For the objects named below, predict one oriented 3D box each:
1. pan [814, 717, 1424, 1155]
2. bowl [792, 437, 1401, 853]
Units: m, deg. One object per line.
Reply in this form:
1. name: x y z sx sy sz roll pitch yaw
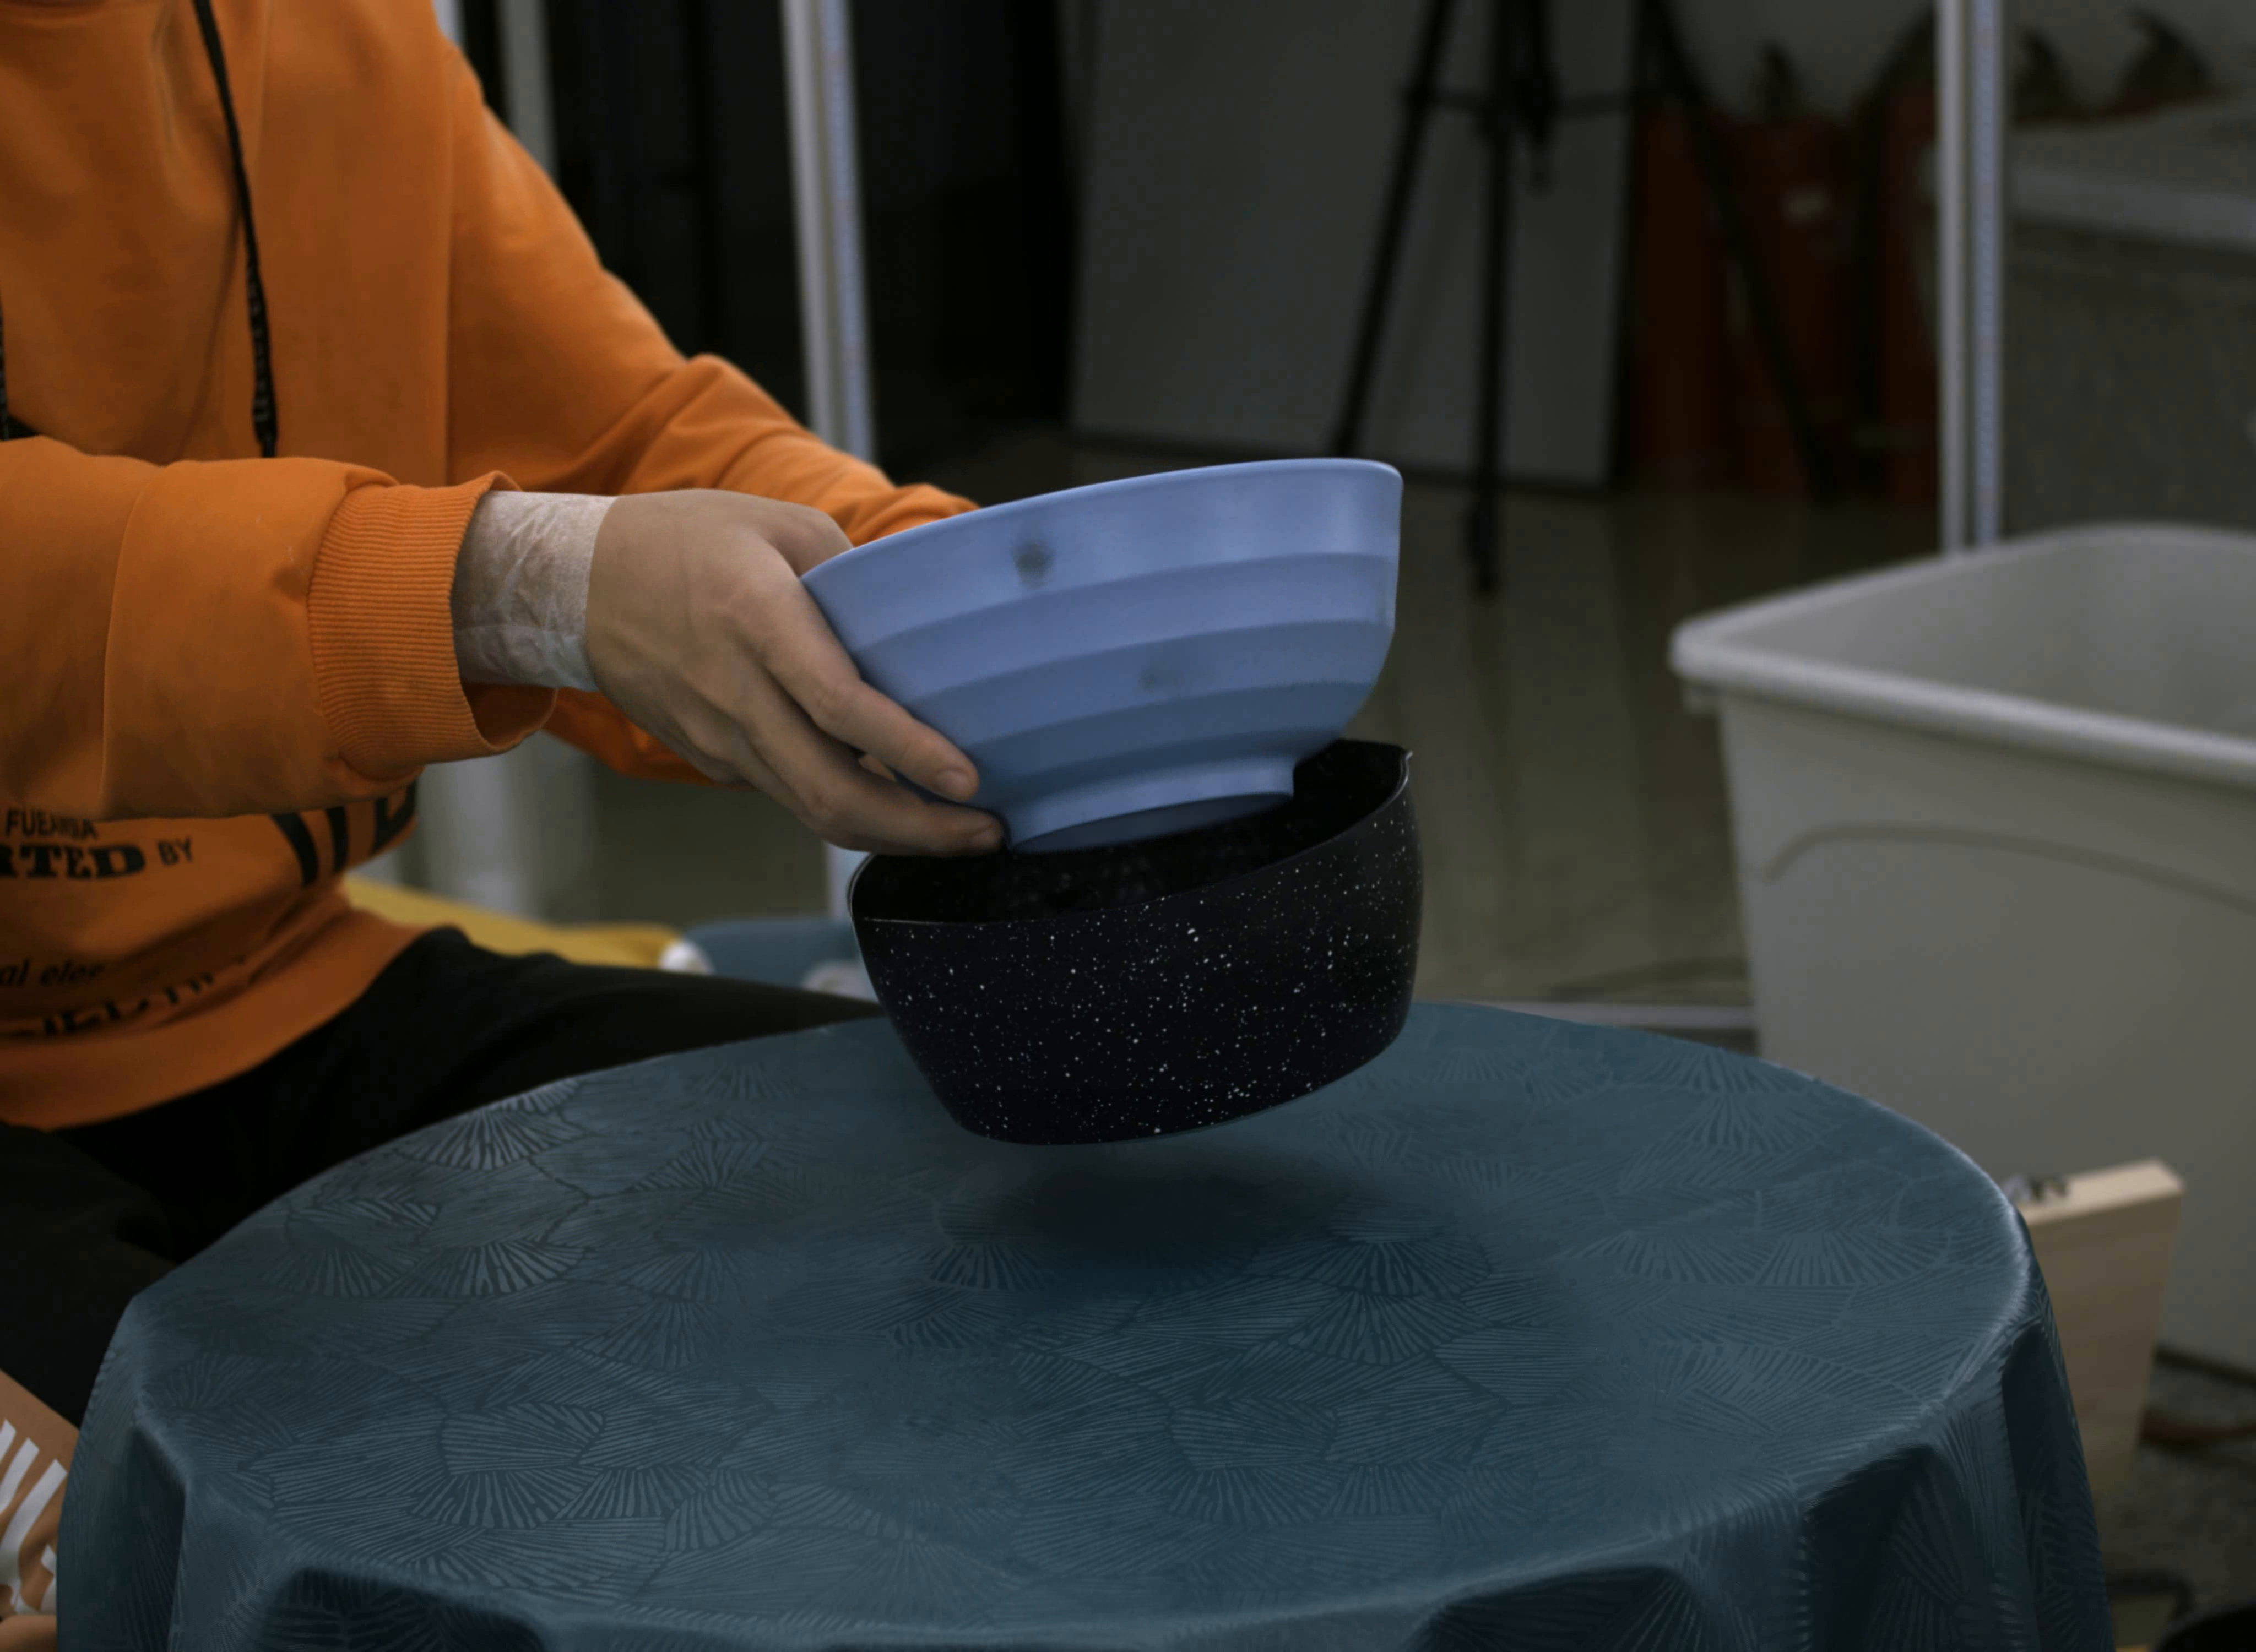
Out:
1. pan: -0.023 0.014 1.802 0.204 0.109 0.346 -18 16 -17
2. bowl: -0.002 -0.048 1.682 0.194 0.097 0.196 -10 -8 -2
